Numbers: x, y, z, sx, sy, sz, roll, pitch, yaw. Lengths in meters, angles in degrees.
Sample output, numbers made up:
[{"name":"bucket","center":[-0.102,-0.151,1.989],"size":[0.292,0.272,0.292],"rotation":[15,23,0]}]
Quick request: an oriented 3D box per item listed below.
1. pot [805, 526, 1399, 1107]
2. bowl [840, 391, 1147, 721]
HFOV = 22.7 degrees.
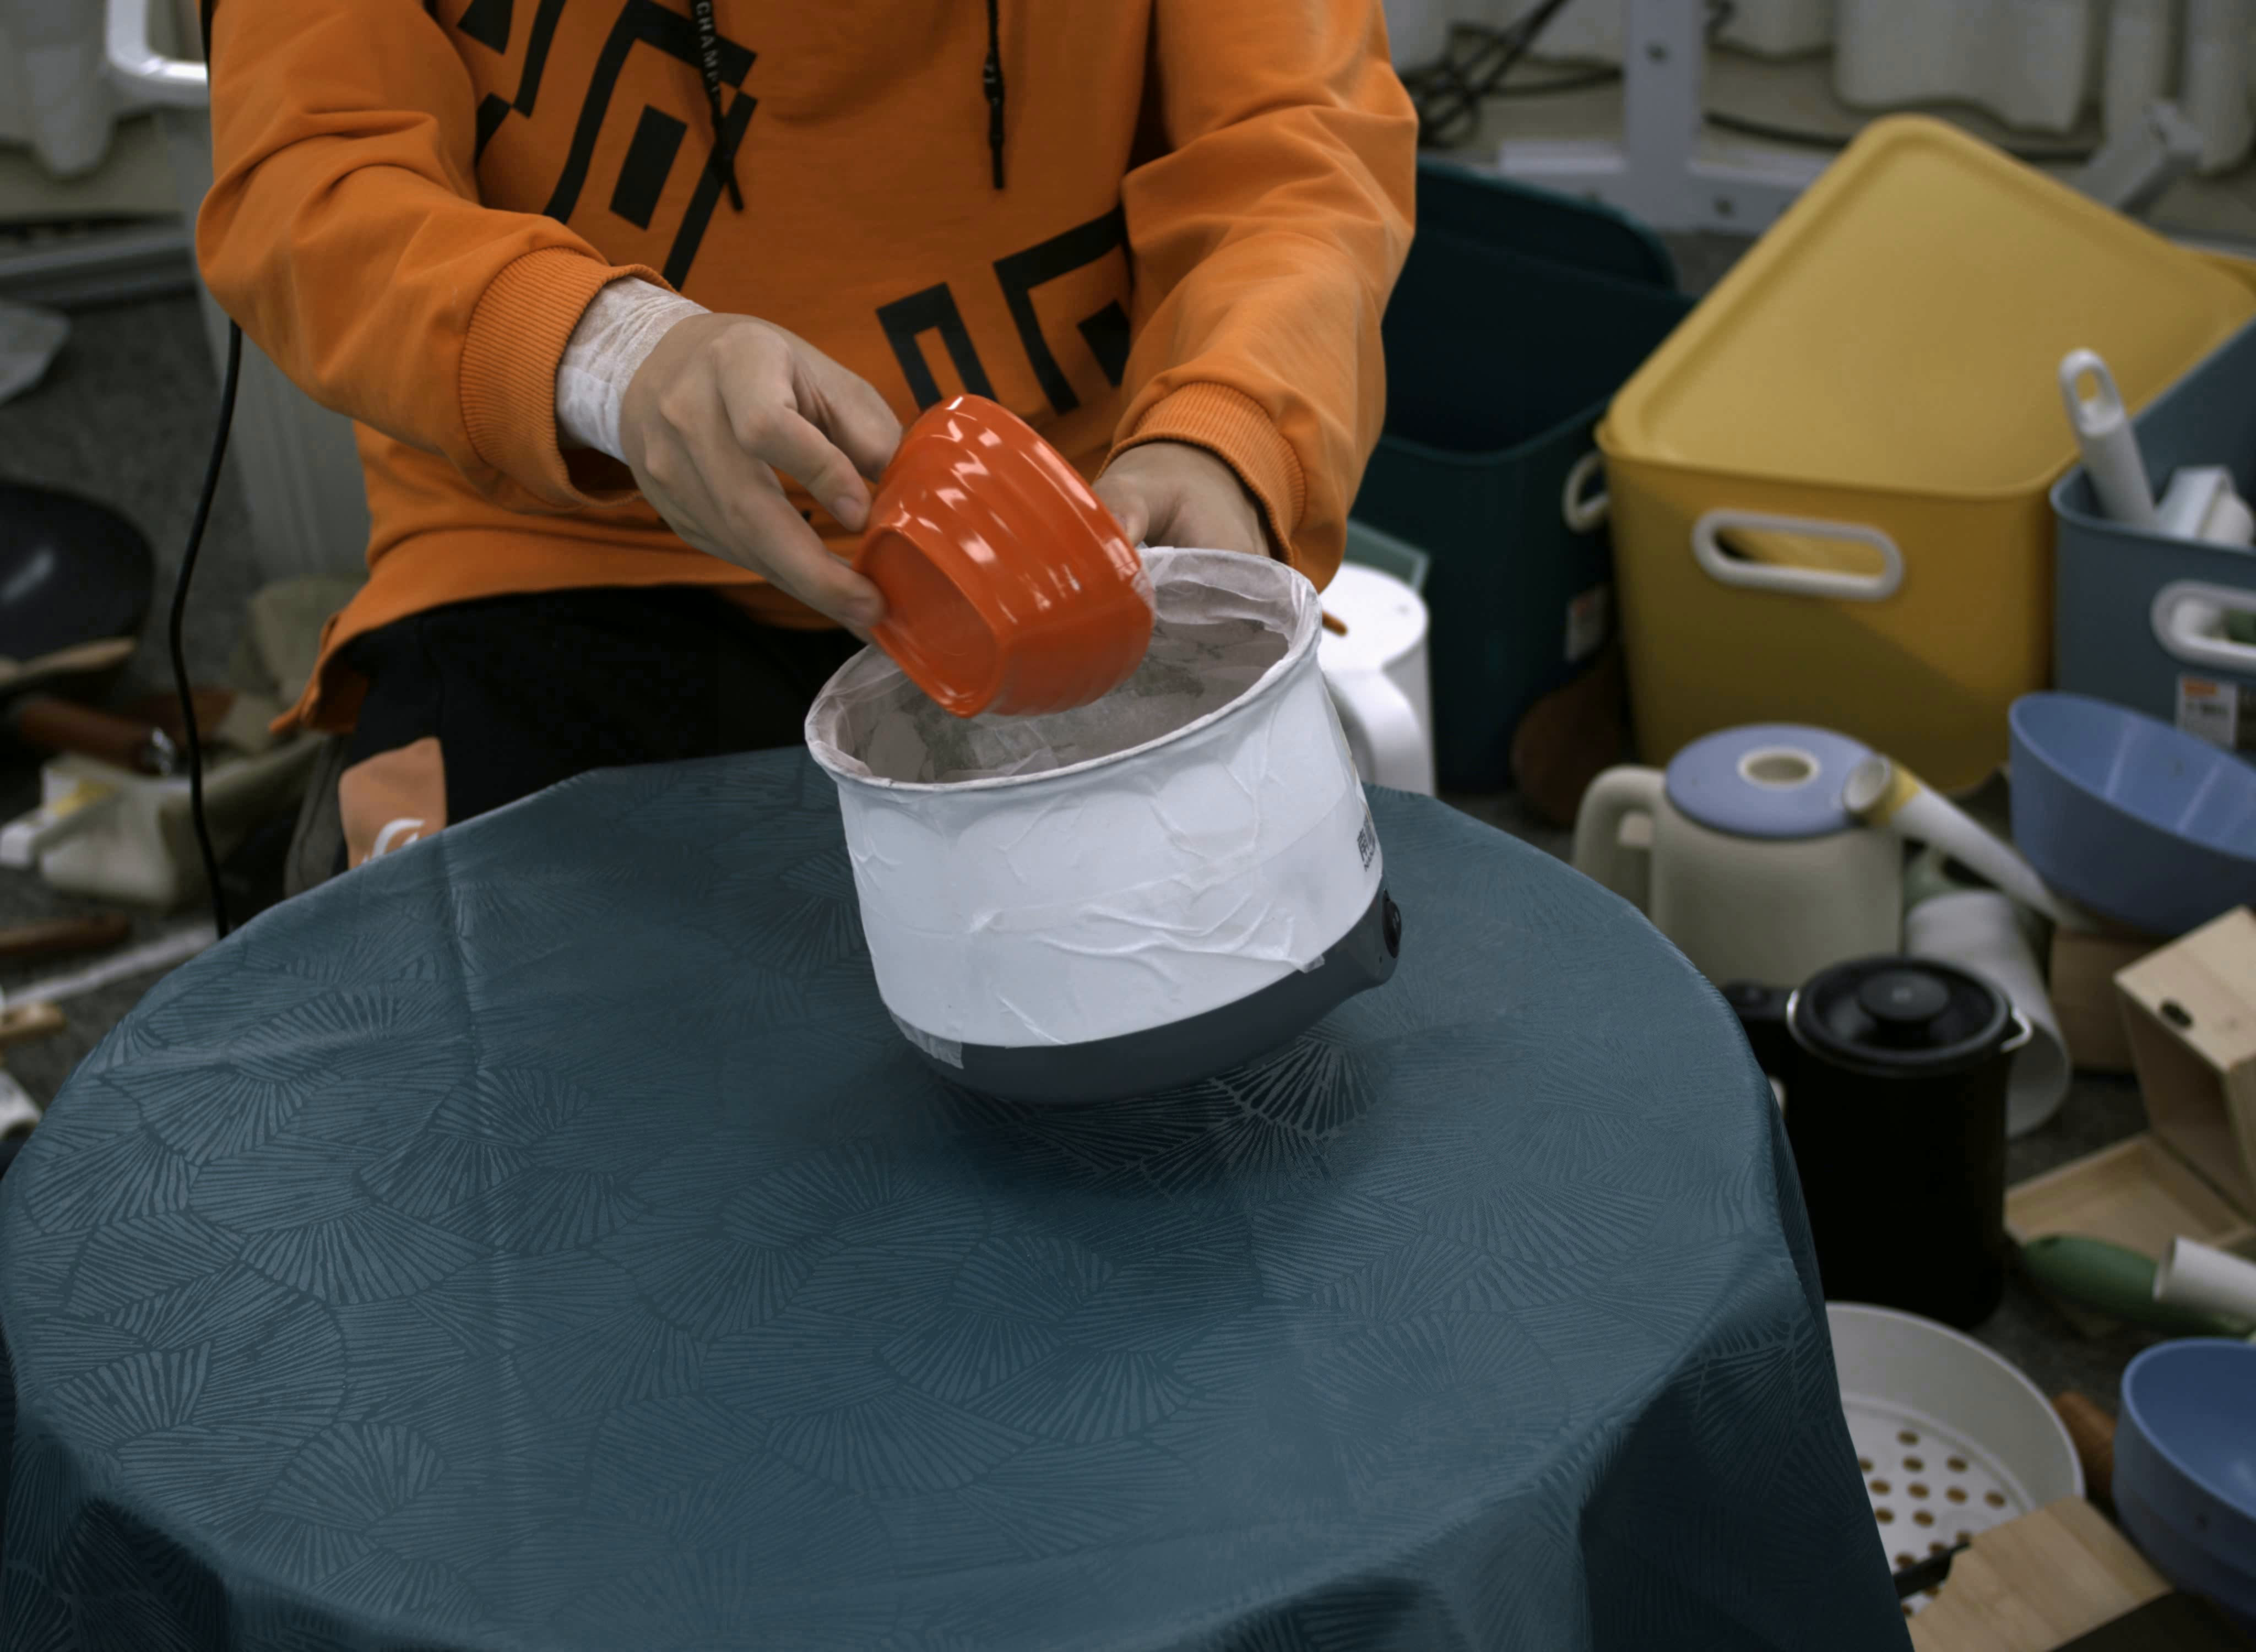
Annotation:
[{"name":"pot","center":[-0.004,-0.011,1.912],"size":[0.177,0.135,0.237],"rotation":[-9,24,12]},{"name":"bowl","center":[-0.052,-0.079,1.853],"size":[0.119,0.117,0.052],"rotation":[23,48,40]}]
